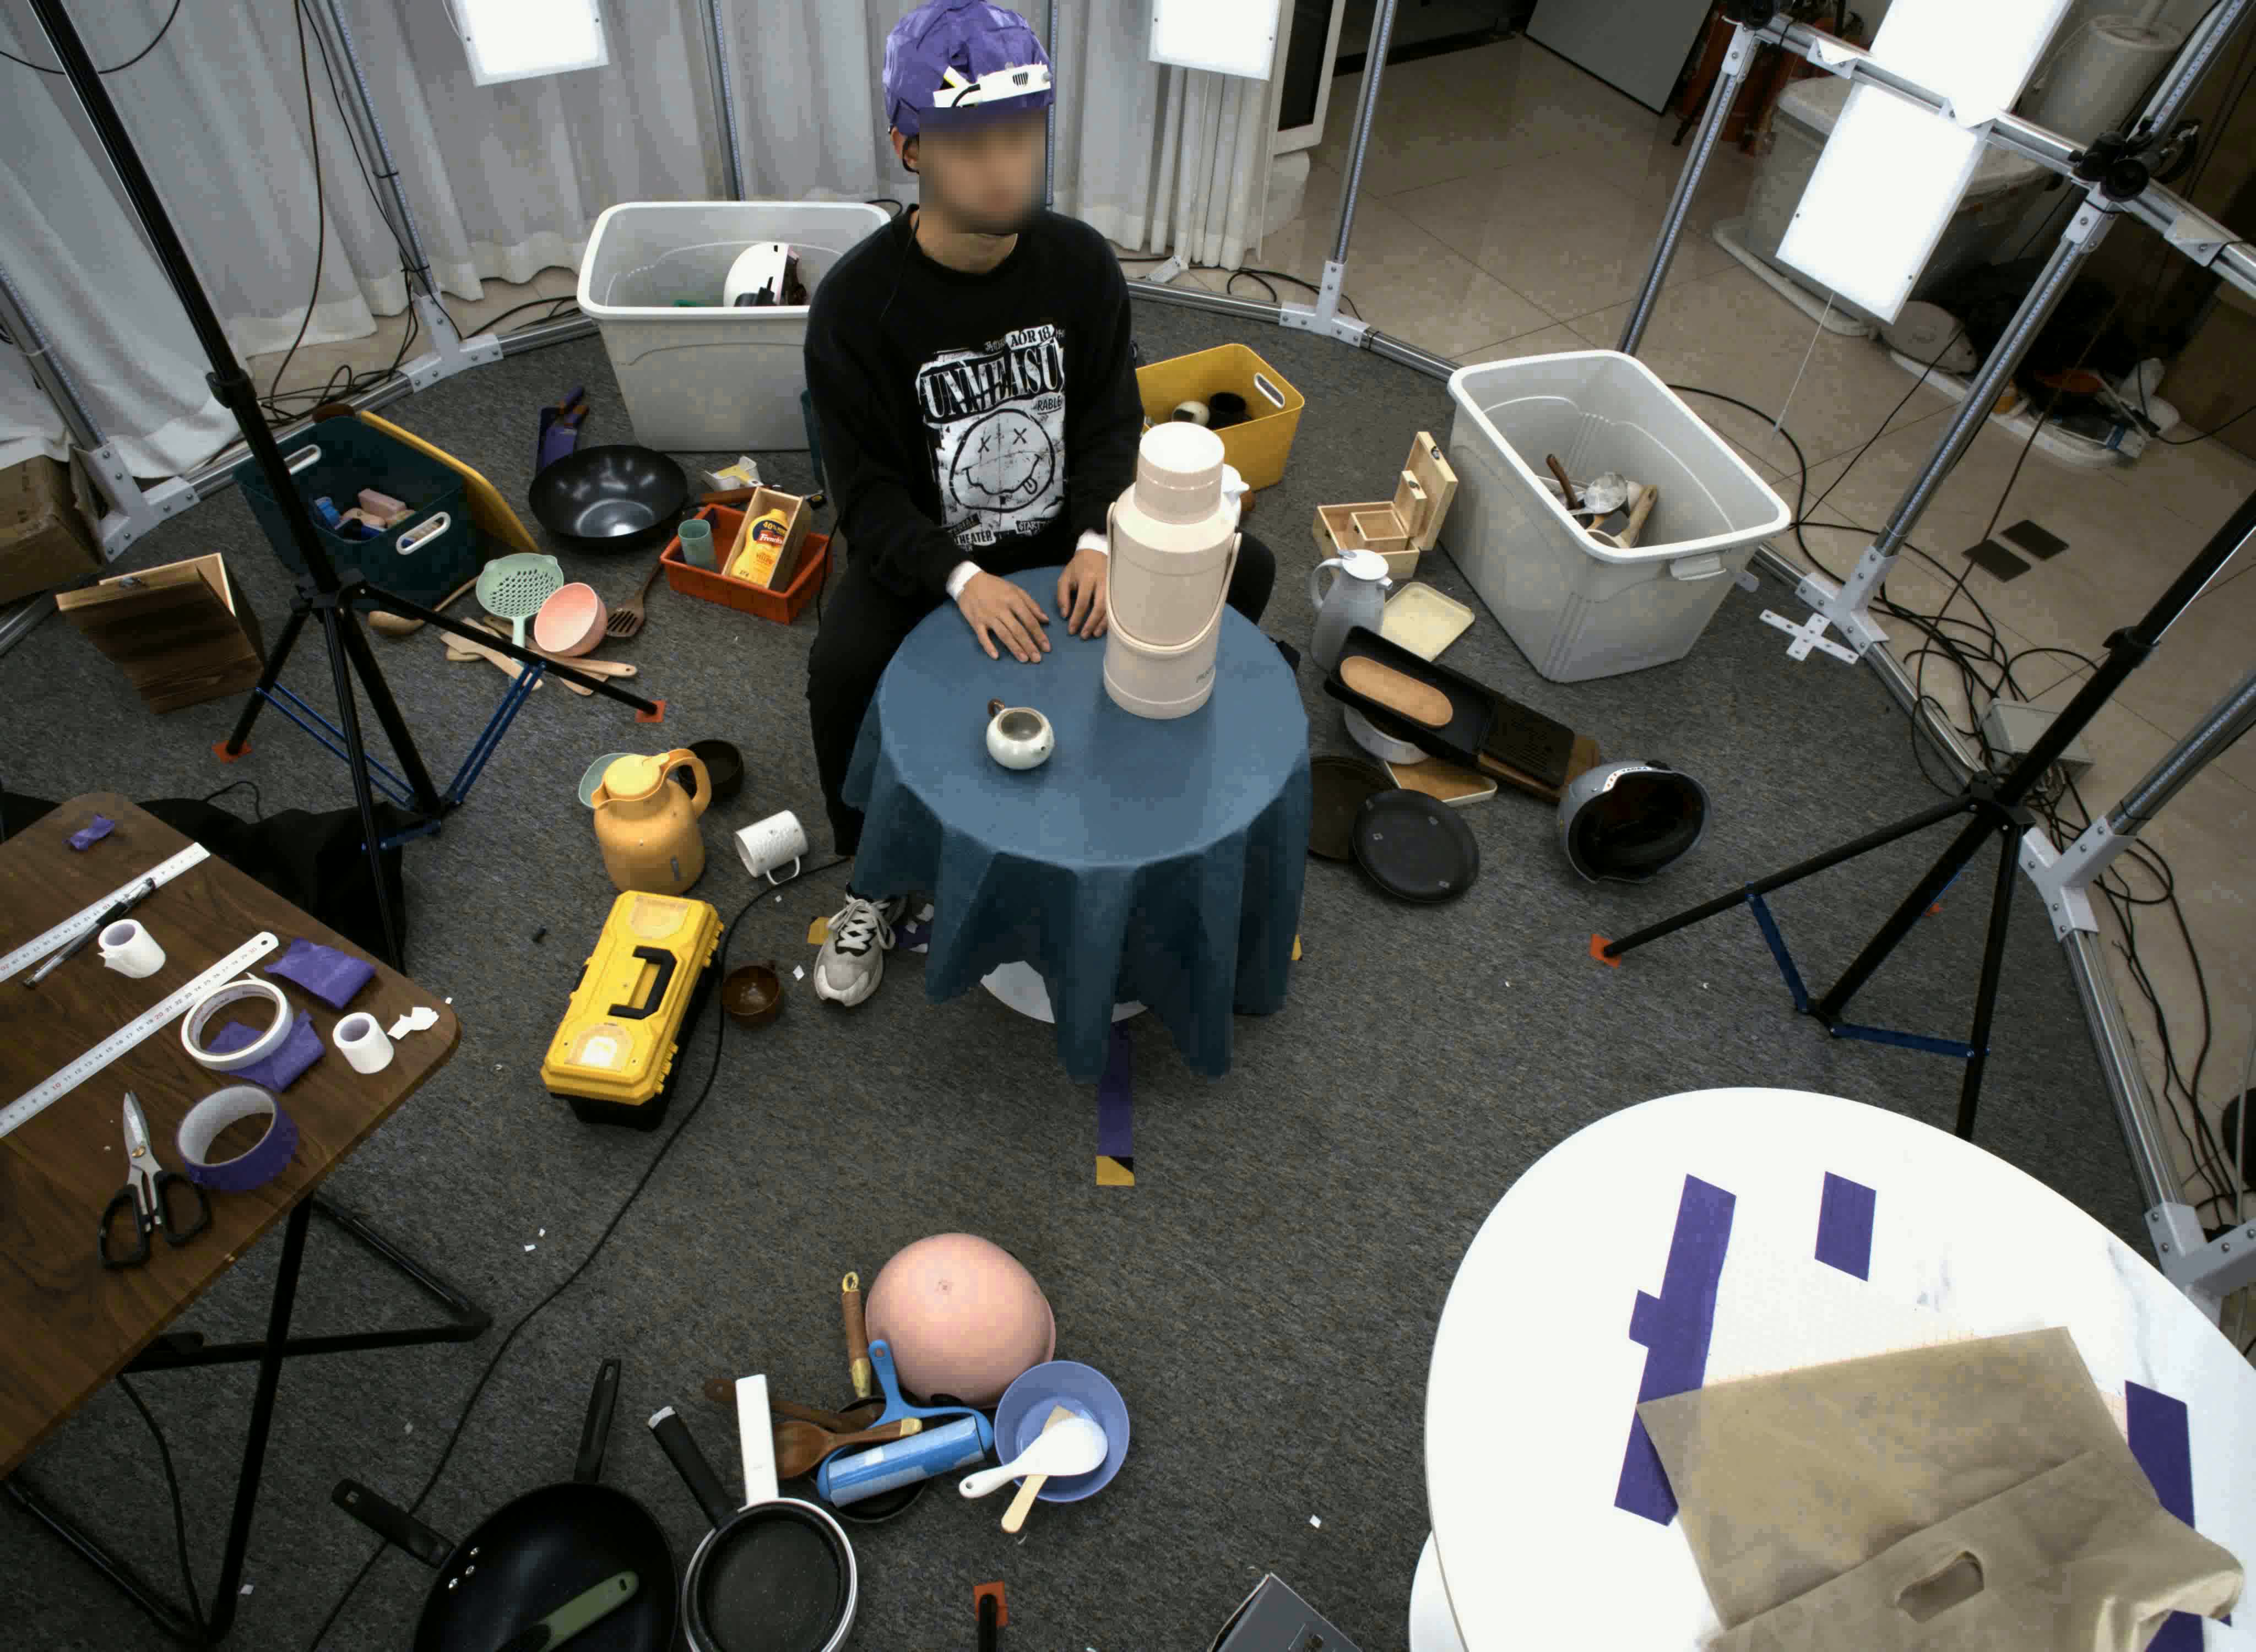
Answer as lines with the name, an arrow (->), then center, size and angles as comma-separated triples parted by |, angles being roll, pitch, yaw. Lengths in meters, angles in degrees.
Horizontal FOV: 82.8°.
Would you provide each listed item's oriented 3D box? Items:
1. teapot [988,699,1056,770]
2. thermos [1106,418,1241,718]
teapot -> -0.149, -0.124, 1.729 | 0.092, 0.058, 0.130 | -33, 59, -22
thermos -> 0.061, -0.347, 1.718 | 0.176, 0.396, 0.211 | 14, 51, 10
